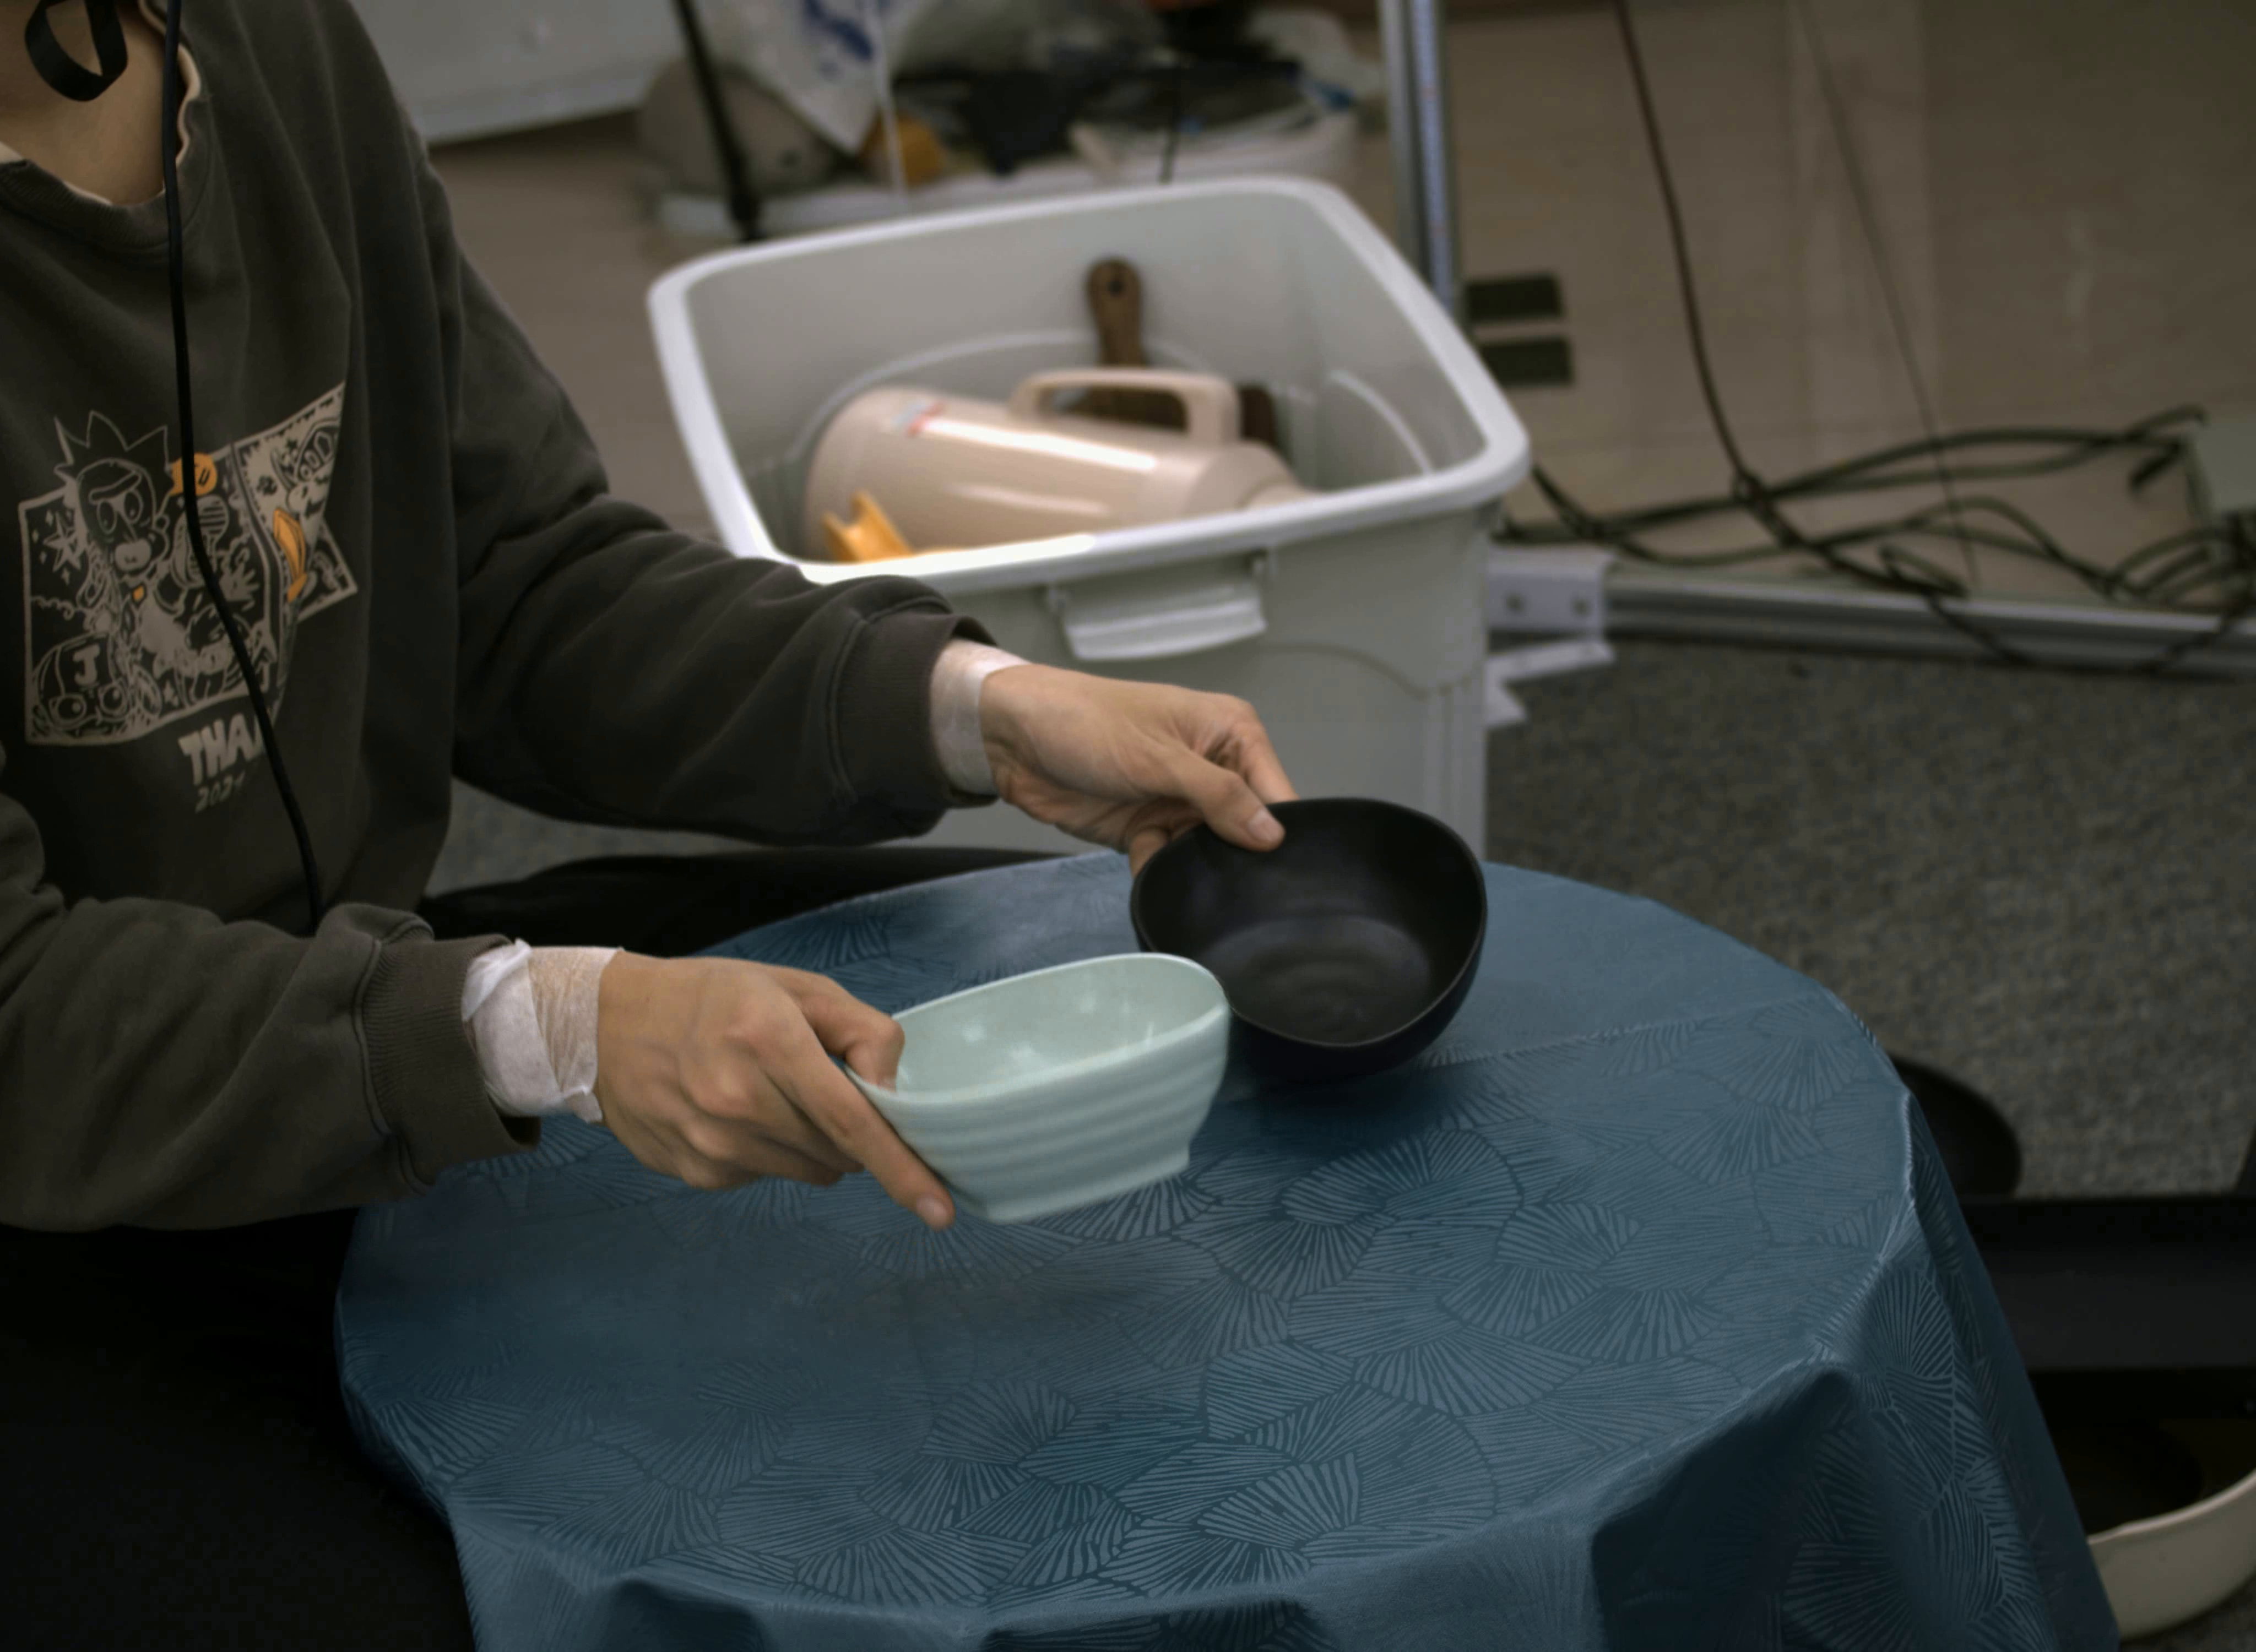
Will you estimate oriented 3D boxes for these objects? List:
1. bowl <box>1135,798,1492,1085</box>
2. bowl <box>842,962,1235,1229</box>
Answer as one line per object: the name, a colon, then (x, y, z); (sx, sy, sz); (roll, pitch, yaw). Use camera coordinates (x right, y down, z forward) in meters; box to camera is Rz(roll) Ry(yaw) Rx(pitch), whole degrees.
bowl: (0.076, 0.055, 2.223); (0.137, 0.068, 0.167); (-15, 34, -10)
bowl: (-0.028, 0.100, 2.033); (0.151, 0.059, 0.150); (-9, 16, 3)
